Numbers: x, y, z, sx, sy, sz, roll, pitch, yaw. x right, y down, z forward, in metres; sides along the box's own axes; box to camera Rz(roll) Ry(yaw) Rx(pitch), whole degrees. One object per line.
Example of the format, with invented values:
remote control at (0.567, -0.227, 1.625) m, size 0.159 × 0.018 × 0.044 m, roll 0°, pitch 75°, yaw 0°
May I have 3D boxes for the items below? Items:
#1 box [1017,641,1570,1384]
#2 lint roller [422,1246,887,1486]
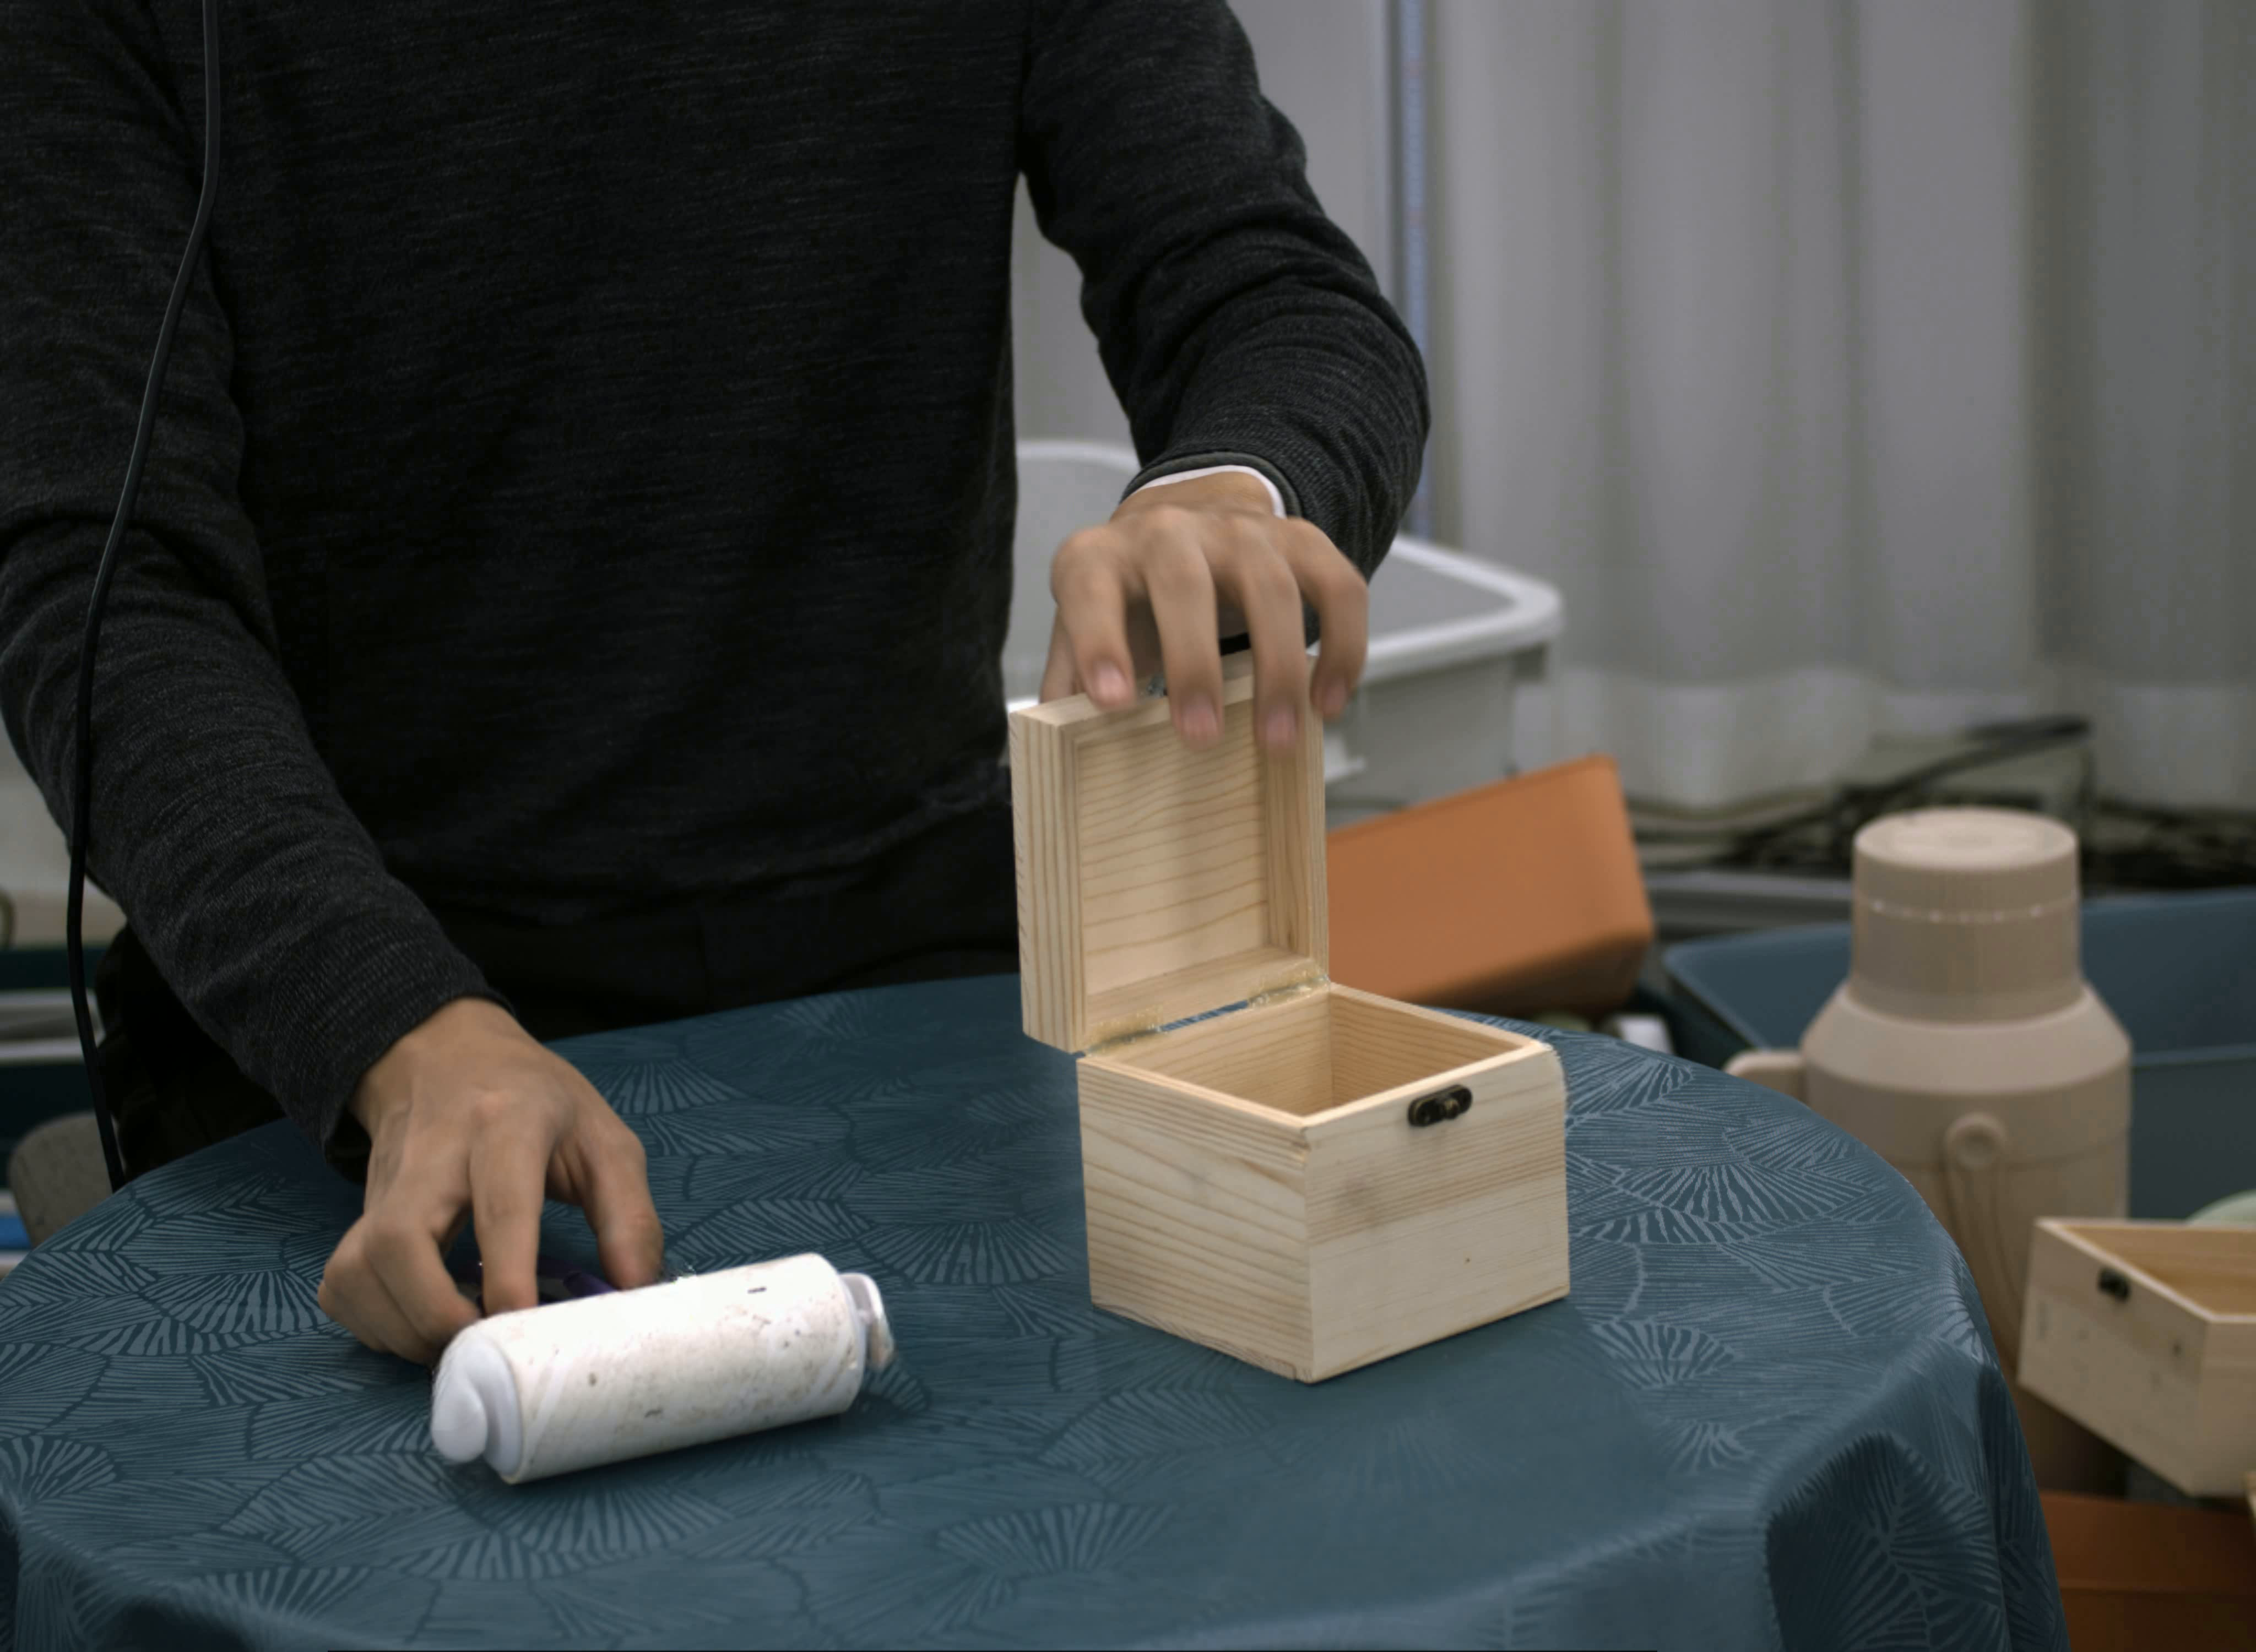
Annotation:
box at (0.049, 0.050, 1.592) m, size 0.102 × 0.184 × 0.135 m, roll -13°, pitch 17°, yaw -37°
lint roller at (-0.156, 0.135, 1.575) m, size 0.132 × 0.050 × 0.182 m, roll -10°, pitch 18°, yaw -22°
